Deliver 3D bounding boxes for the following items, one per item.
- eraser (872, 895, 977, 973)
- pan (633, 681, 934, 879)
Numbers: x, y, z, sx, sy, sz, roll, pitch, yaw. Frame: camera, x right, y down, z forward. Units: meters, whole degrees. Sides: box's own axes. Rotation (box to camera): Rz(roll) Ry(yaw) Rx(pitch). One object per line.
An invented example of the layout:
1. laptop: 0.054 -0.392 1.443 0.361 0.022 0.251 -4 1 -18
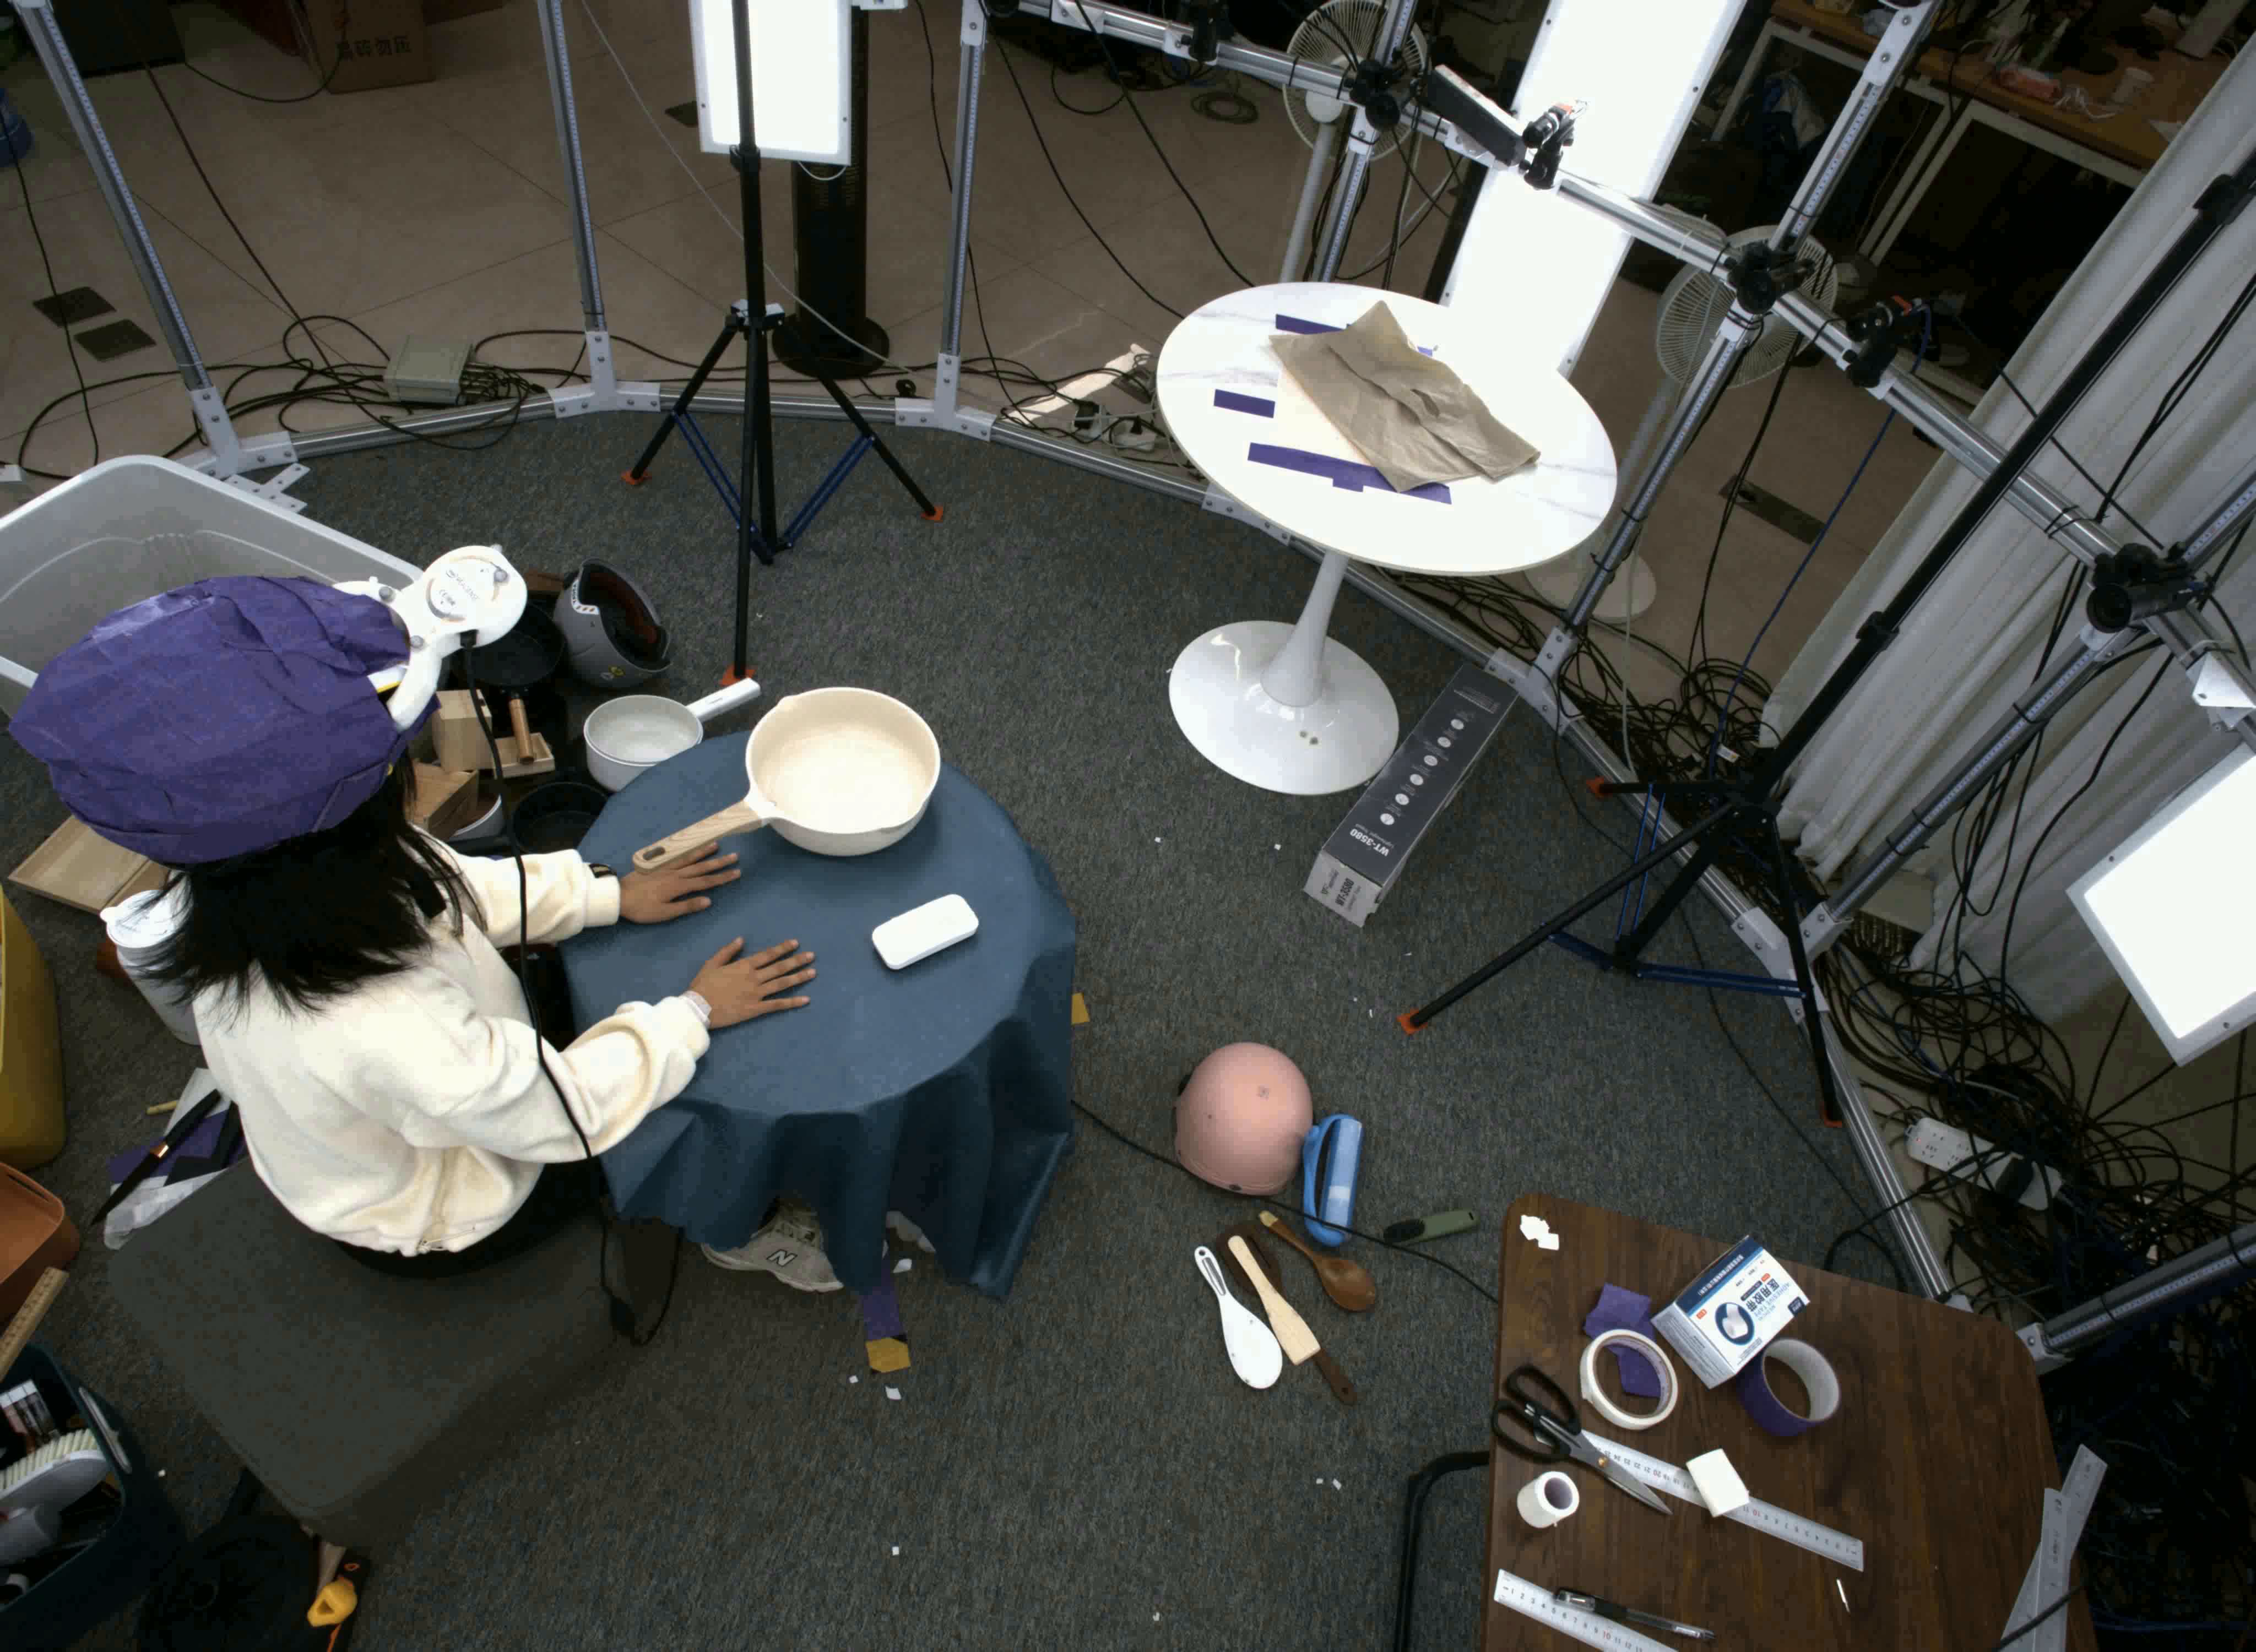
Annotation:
1. eraser: -0.257 0.132 1.645 0.132 0.035 0.061 -25 60 -29
2. pan: -0.446 -0.031 1.671 0.258 0.104 0.436 42 55 16
